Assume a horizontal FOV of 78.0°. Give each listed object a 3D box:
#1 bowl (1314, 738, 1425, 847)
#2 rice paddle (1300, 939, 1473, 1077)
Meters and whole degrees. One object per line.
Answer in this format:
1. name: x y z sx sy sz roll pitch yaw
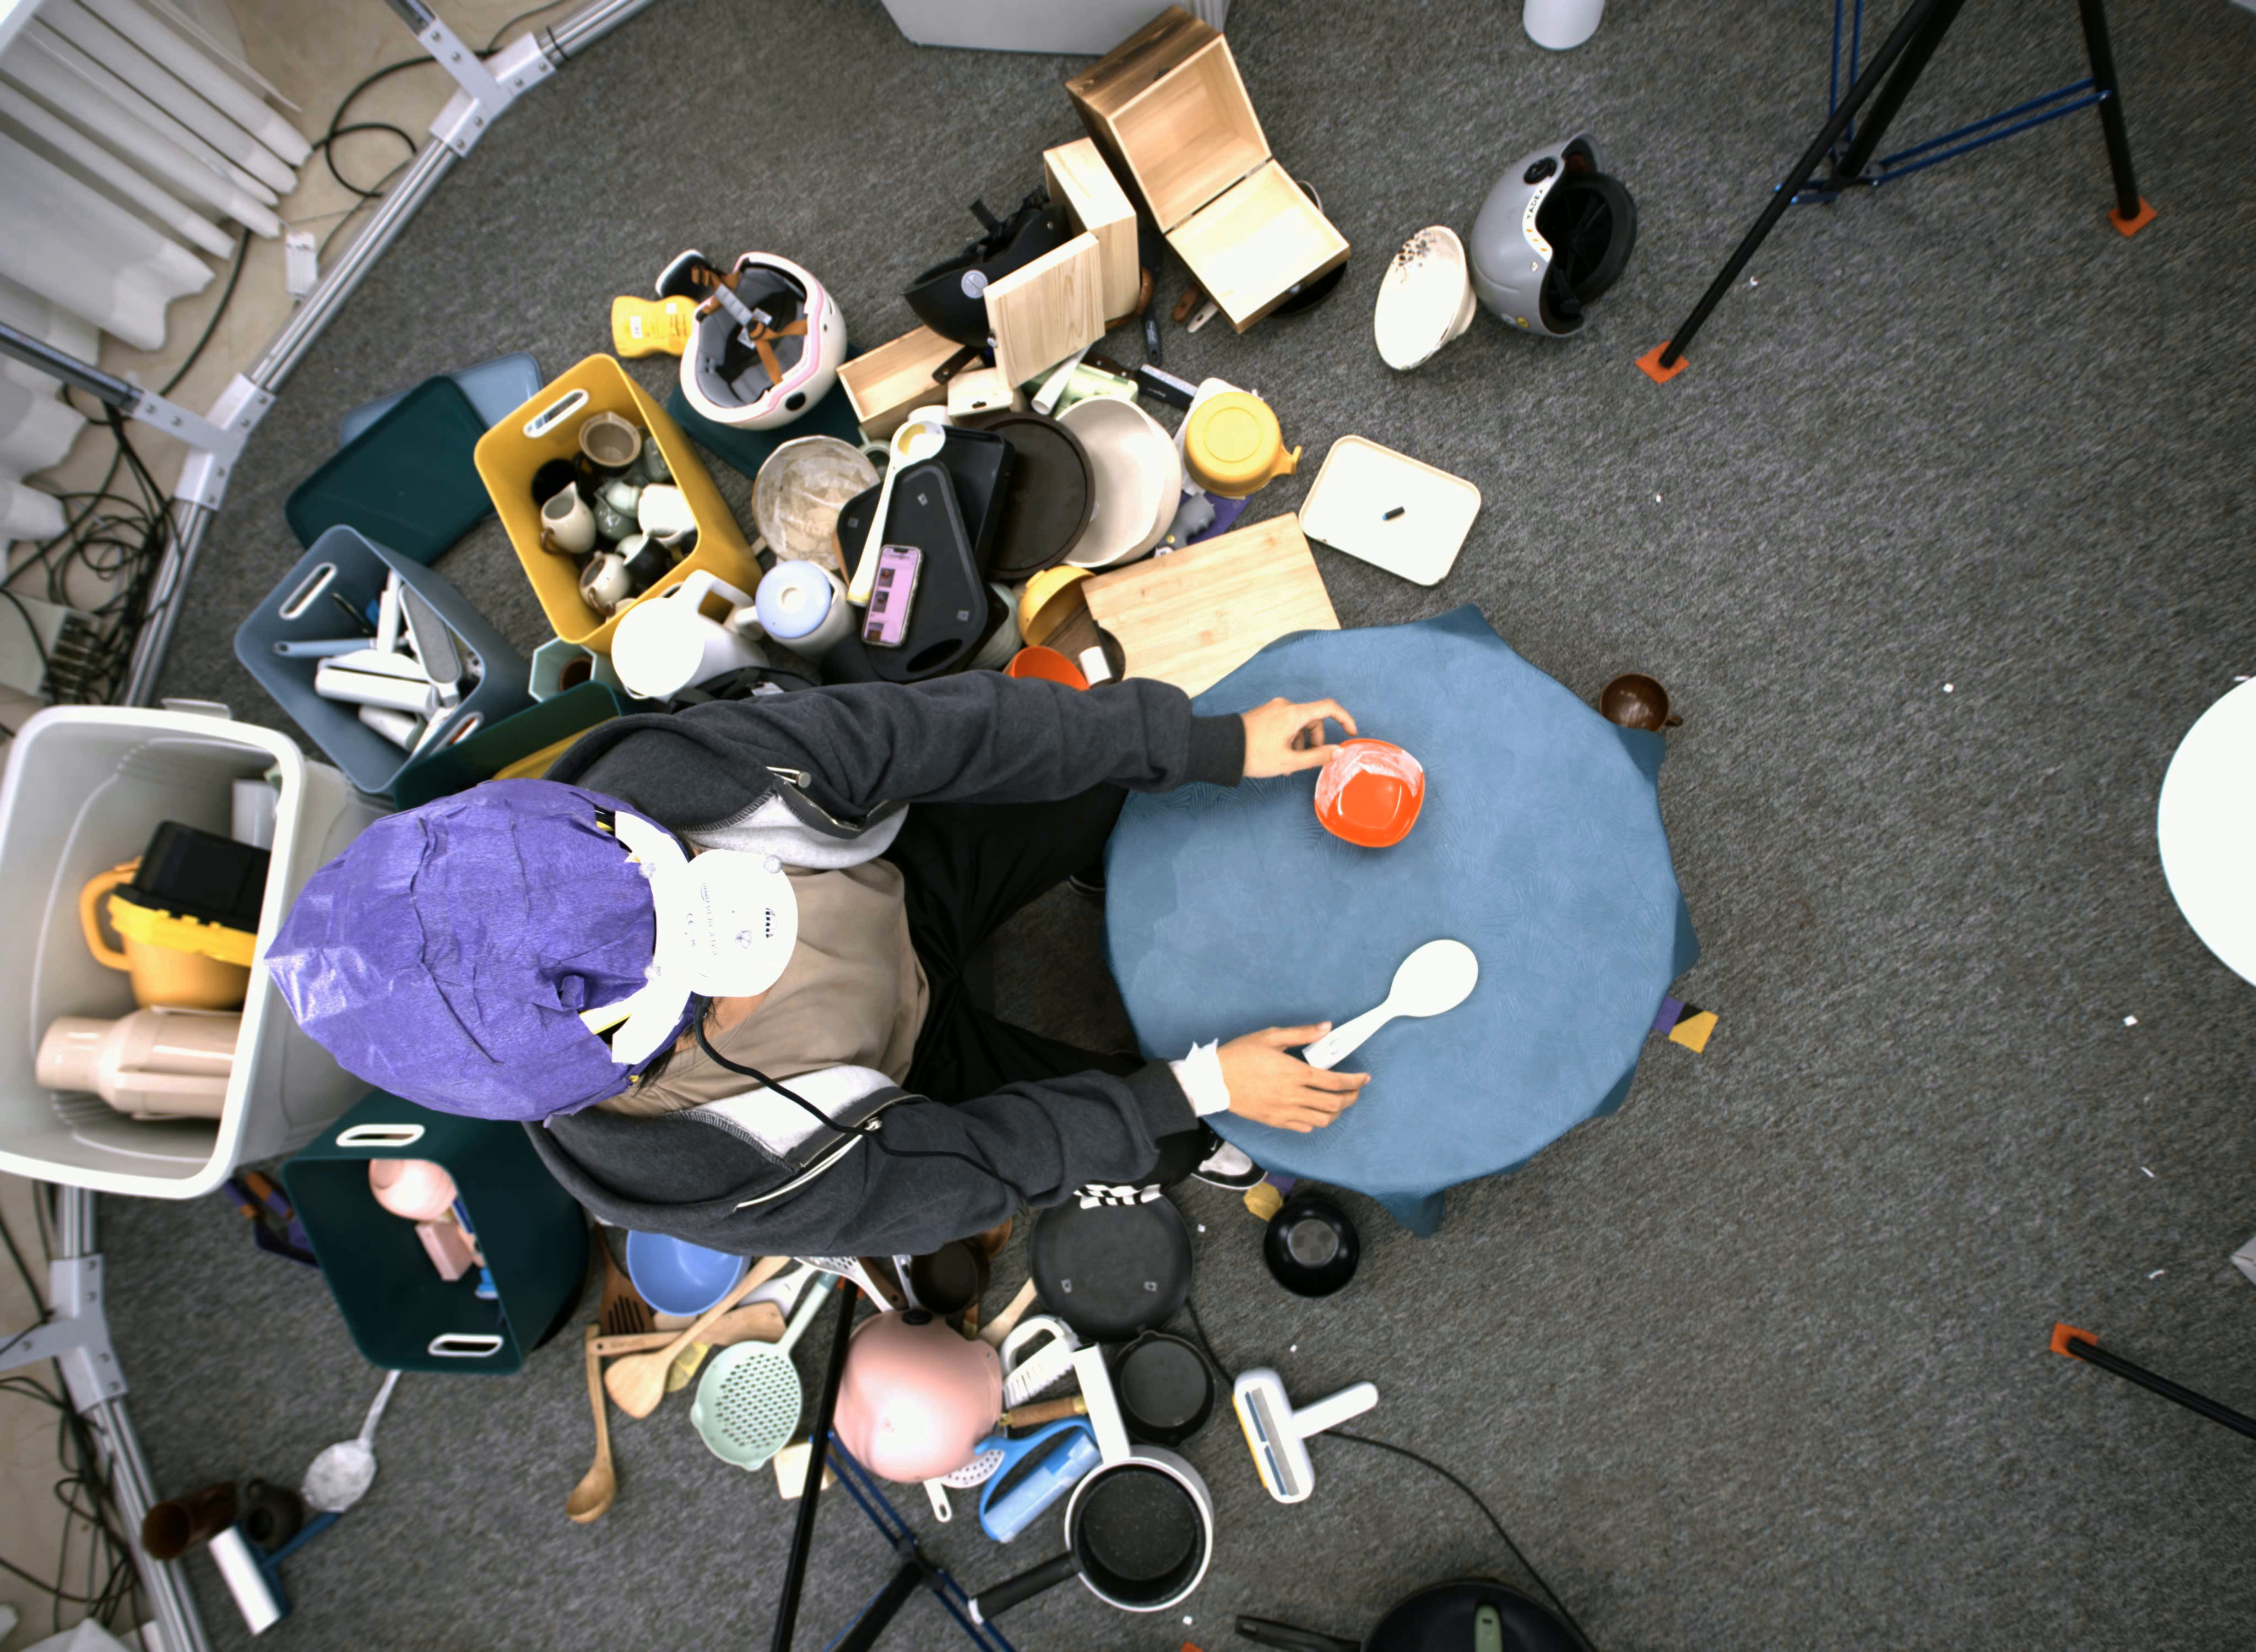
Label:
1. bowl: 0.252 -0.034 1.442 0.119 0.051 0.118 -1 86 9
2. rice paddle: 0.270 0.188 1.437 0.206 0.029 0.068 -36 83 6
